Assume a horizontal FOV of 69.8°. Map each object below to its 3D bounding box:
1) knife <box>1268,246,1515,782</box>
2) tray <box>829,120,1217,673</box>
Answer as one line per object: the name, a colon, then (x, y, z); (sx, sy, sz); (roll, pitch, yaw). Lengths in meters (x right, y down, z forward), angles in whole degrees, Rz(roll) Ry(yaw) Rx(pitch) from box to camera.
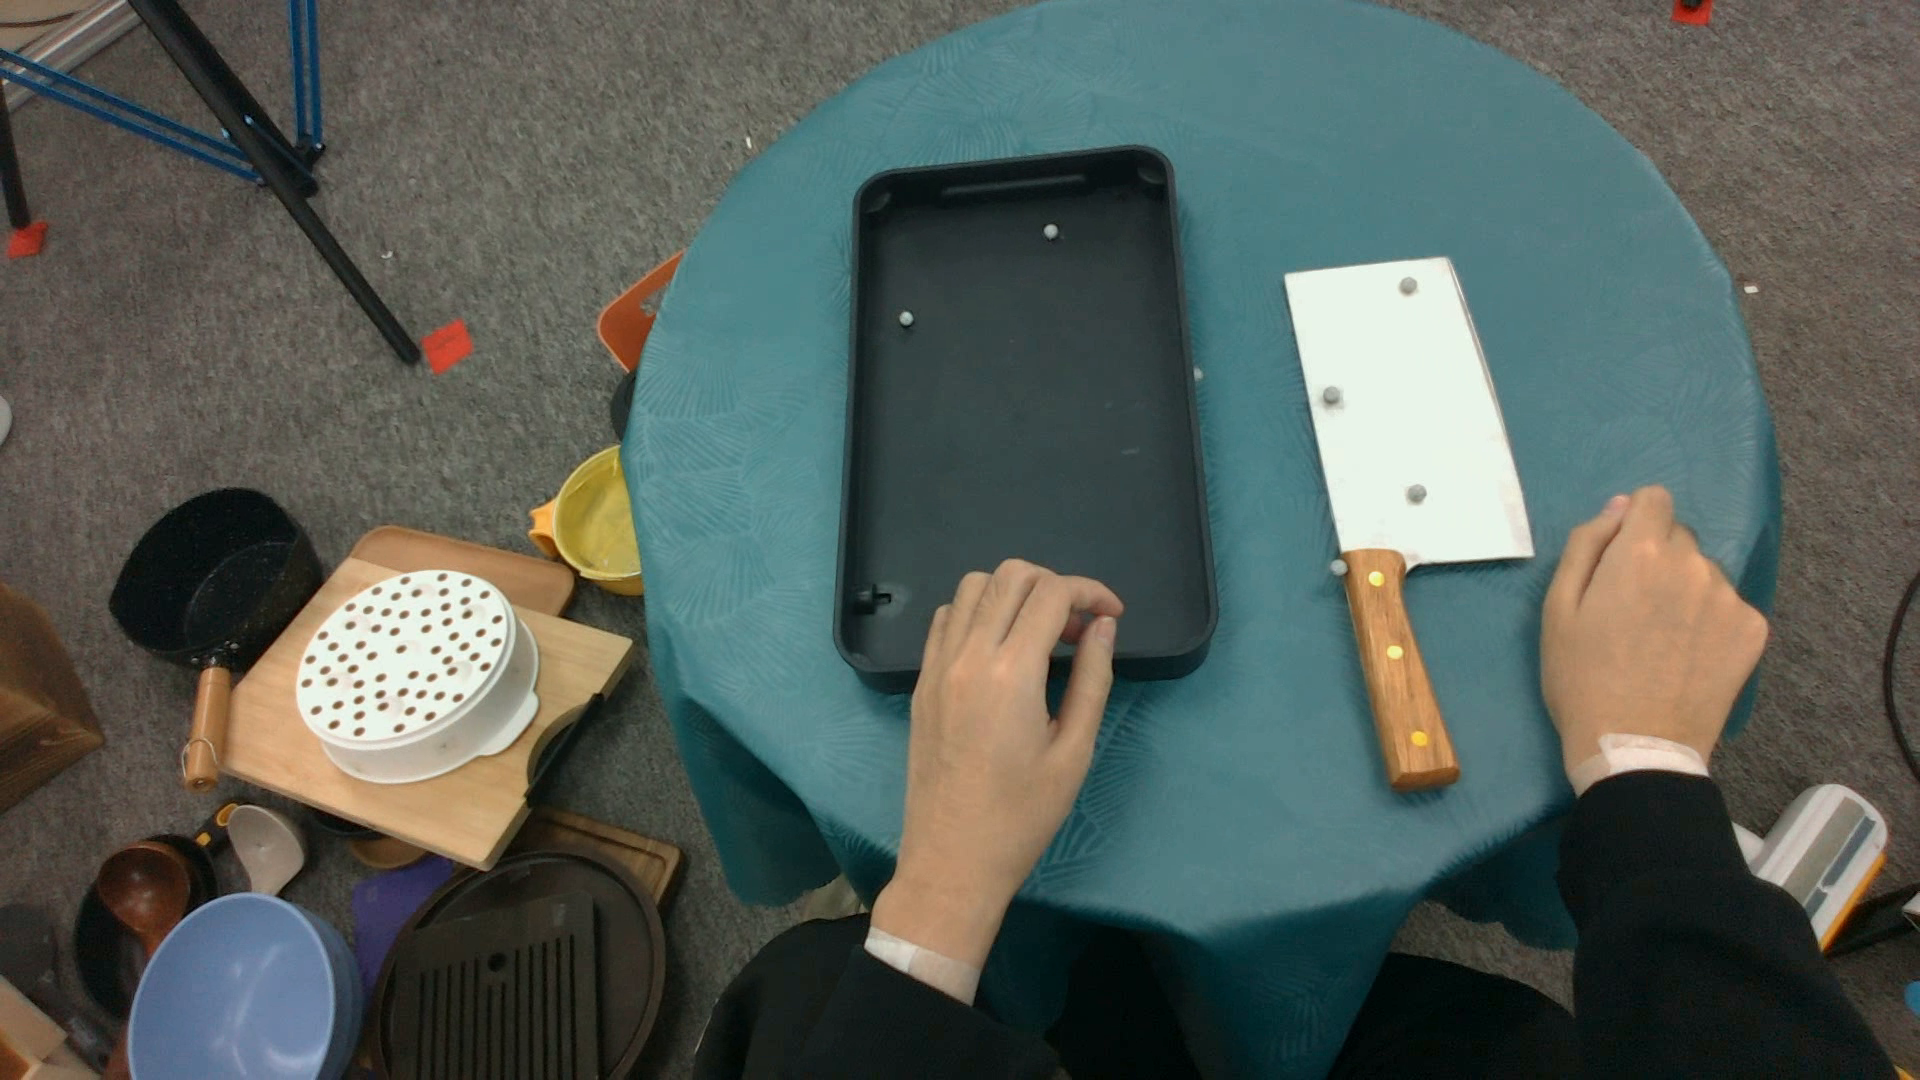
knife: (0.221, -0.029, 0.682); (0.093, 0.021, 0.307); (-5, 59, 3)
tray: (0.024, -0.086, 0.729); (0.184, 0.037, 0.319); (-6, 61, 4)
